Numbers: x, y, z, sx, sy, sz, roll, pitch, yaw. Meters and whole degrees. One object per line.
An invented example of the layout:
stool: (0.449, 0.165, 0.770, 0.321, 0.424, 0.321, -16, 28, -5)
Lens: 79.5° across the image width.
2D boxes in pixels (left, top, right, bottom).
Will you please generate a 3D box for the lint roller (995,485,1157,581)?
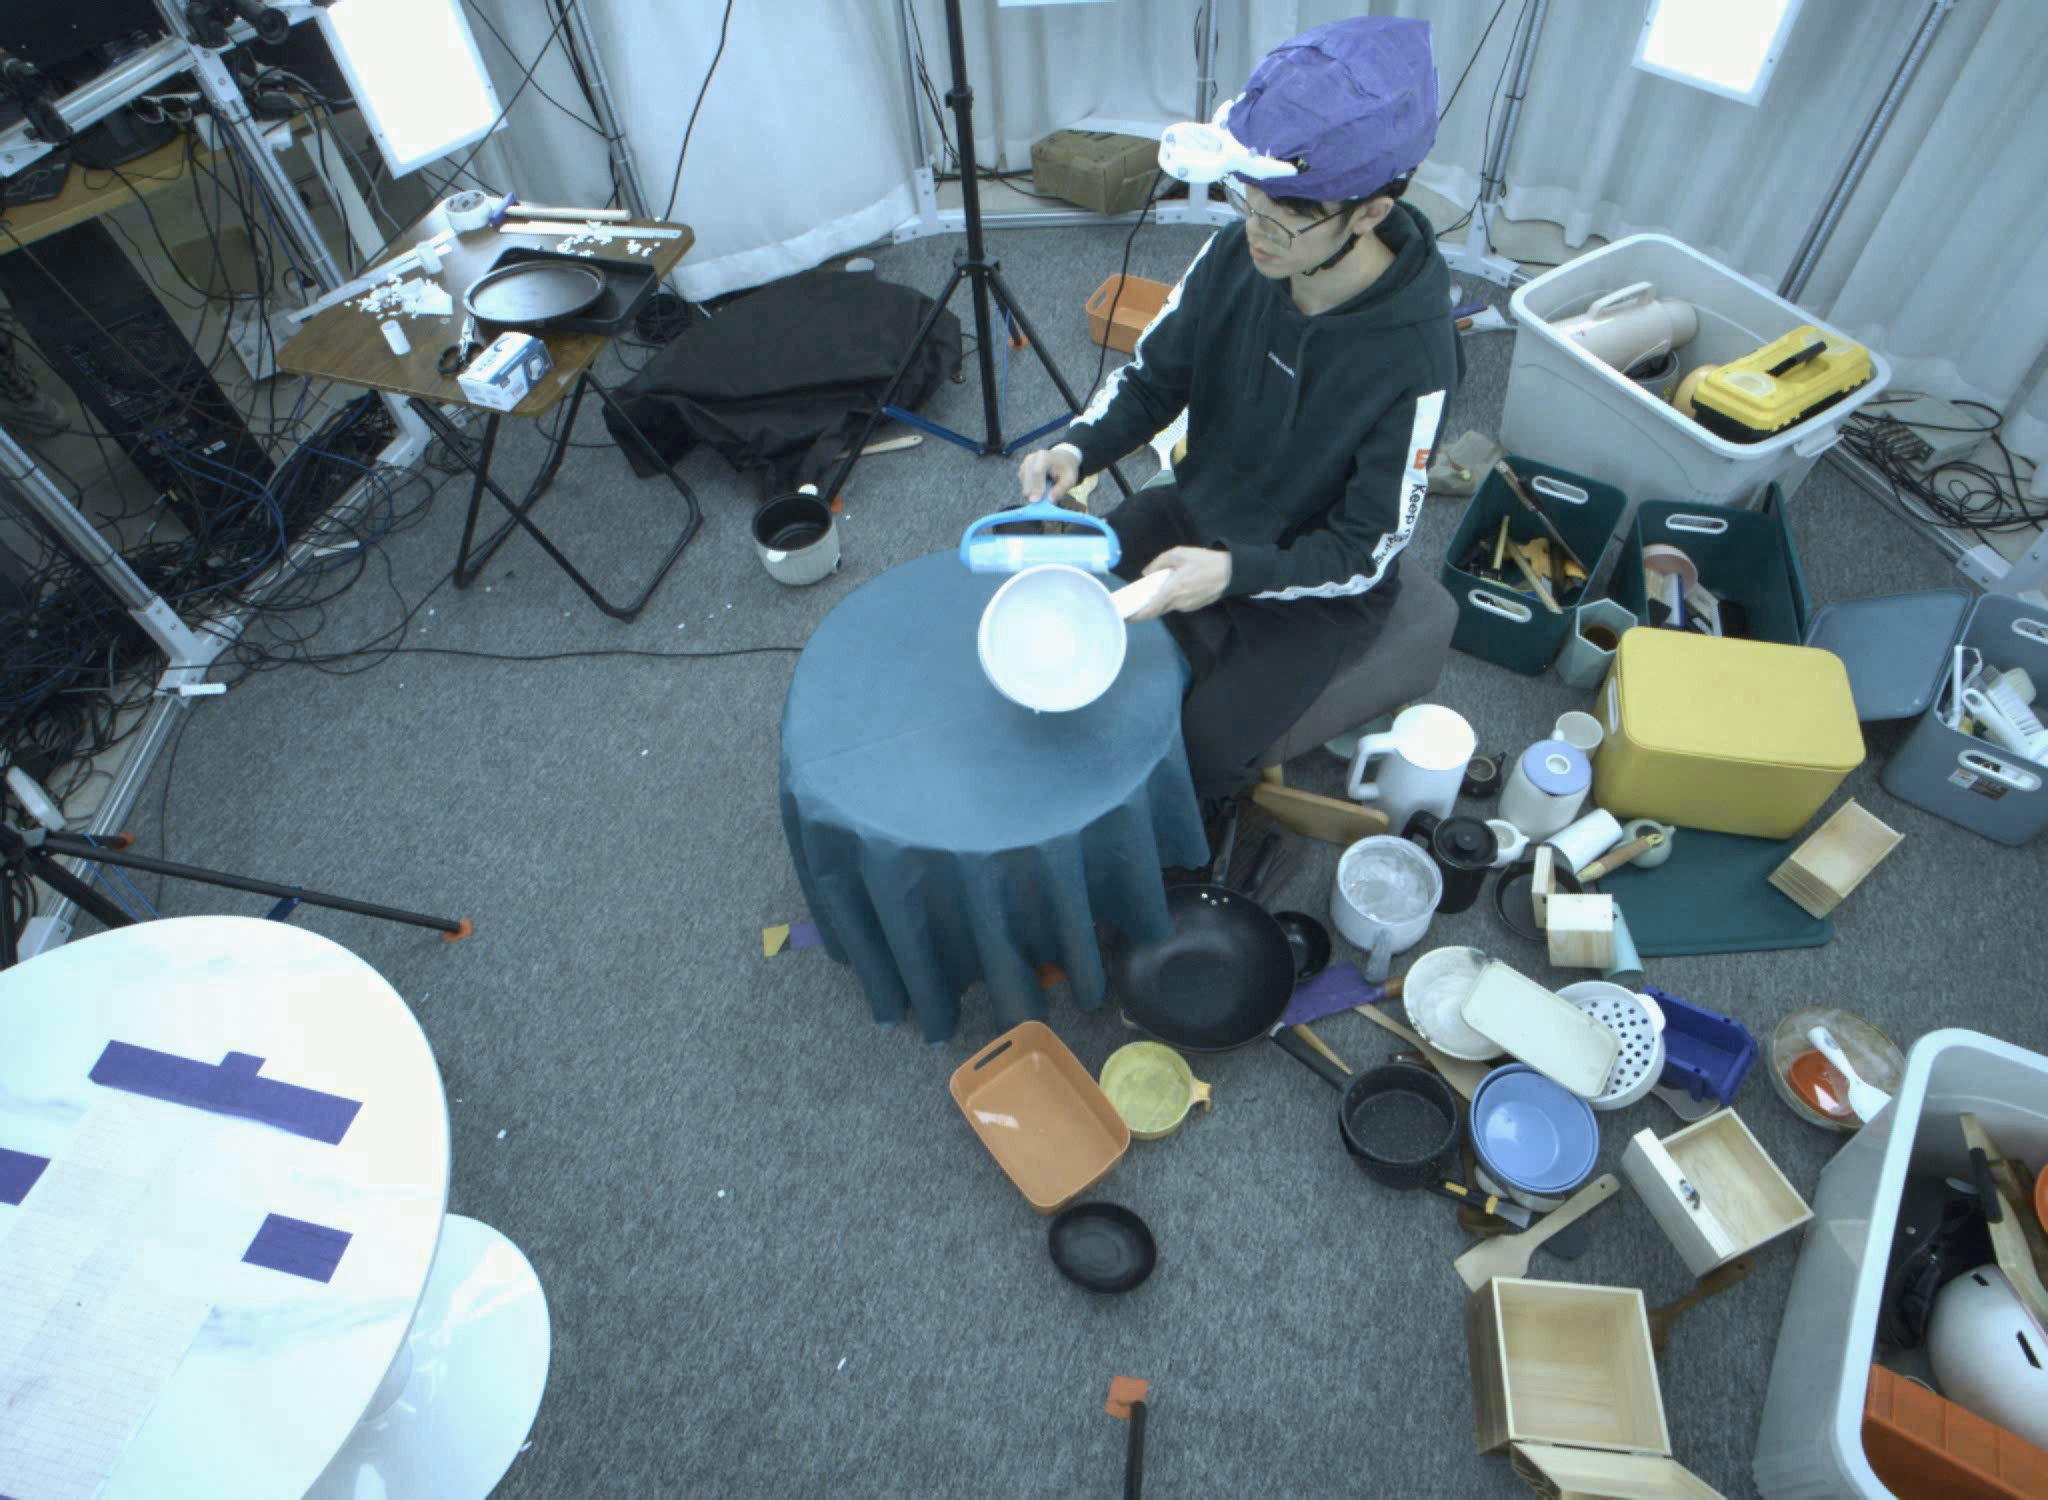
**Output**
lint roller: (0.074, -0.322, 1.748, 0.228, 0.068, 0.179, 0, 66, 4)

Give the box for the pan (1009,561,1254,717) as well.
pan: (0.147, -0.178, 1.724, 0.356, 0.101, 0.202, -25, 98, -10)
